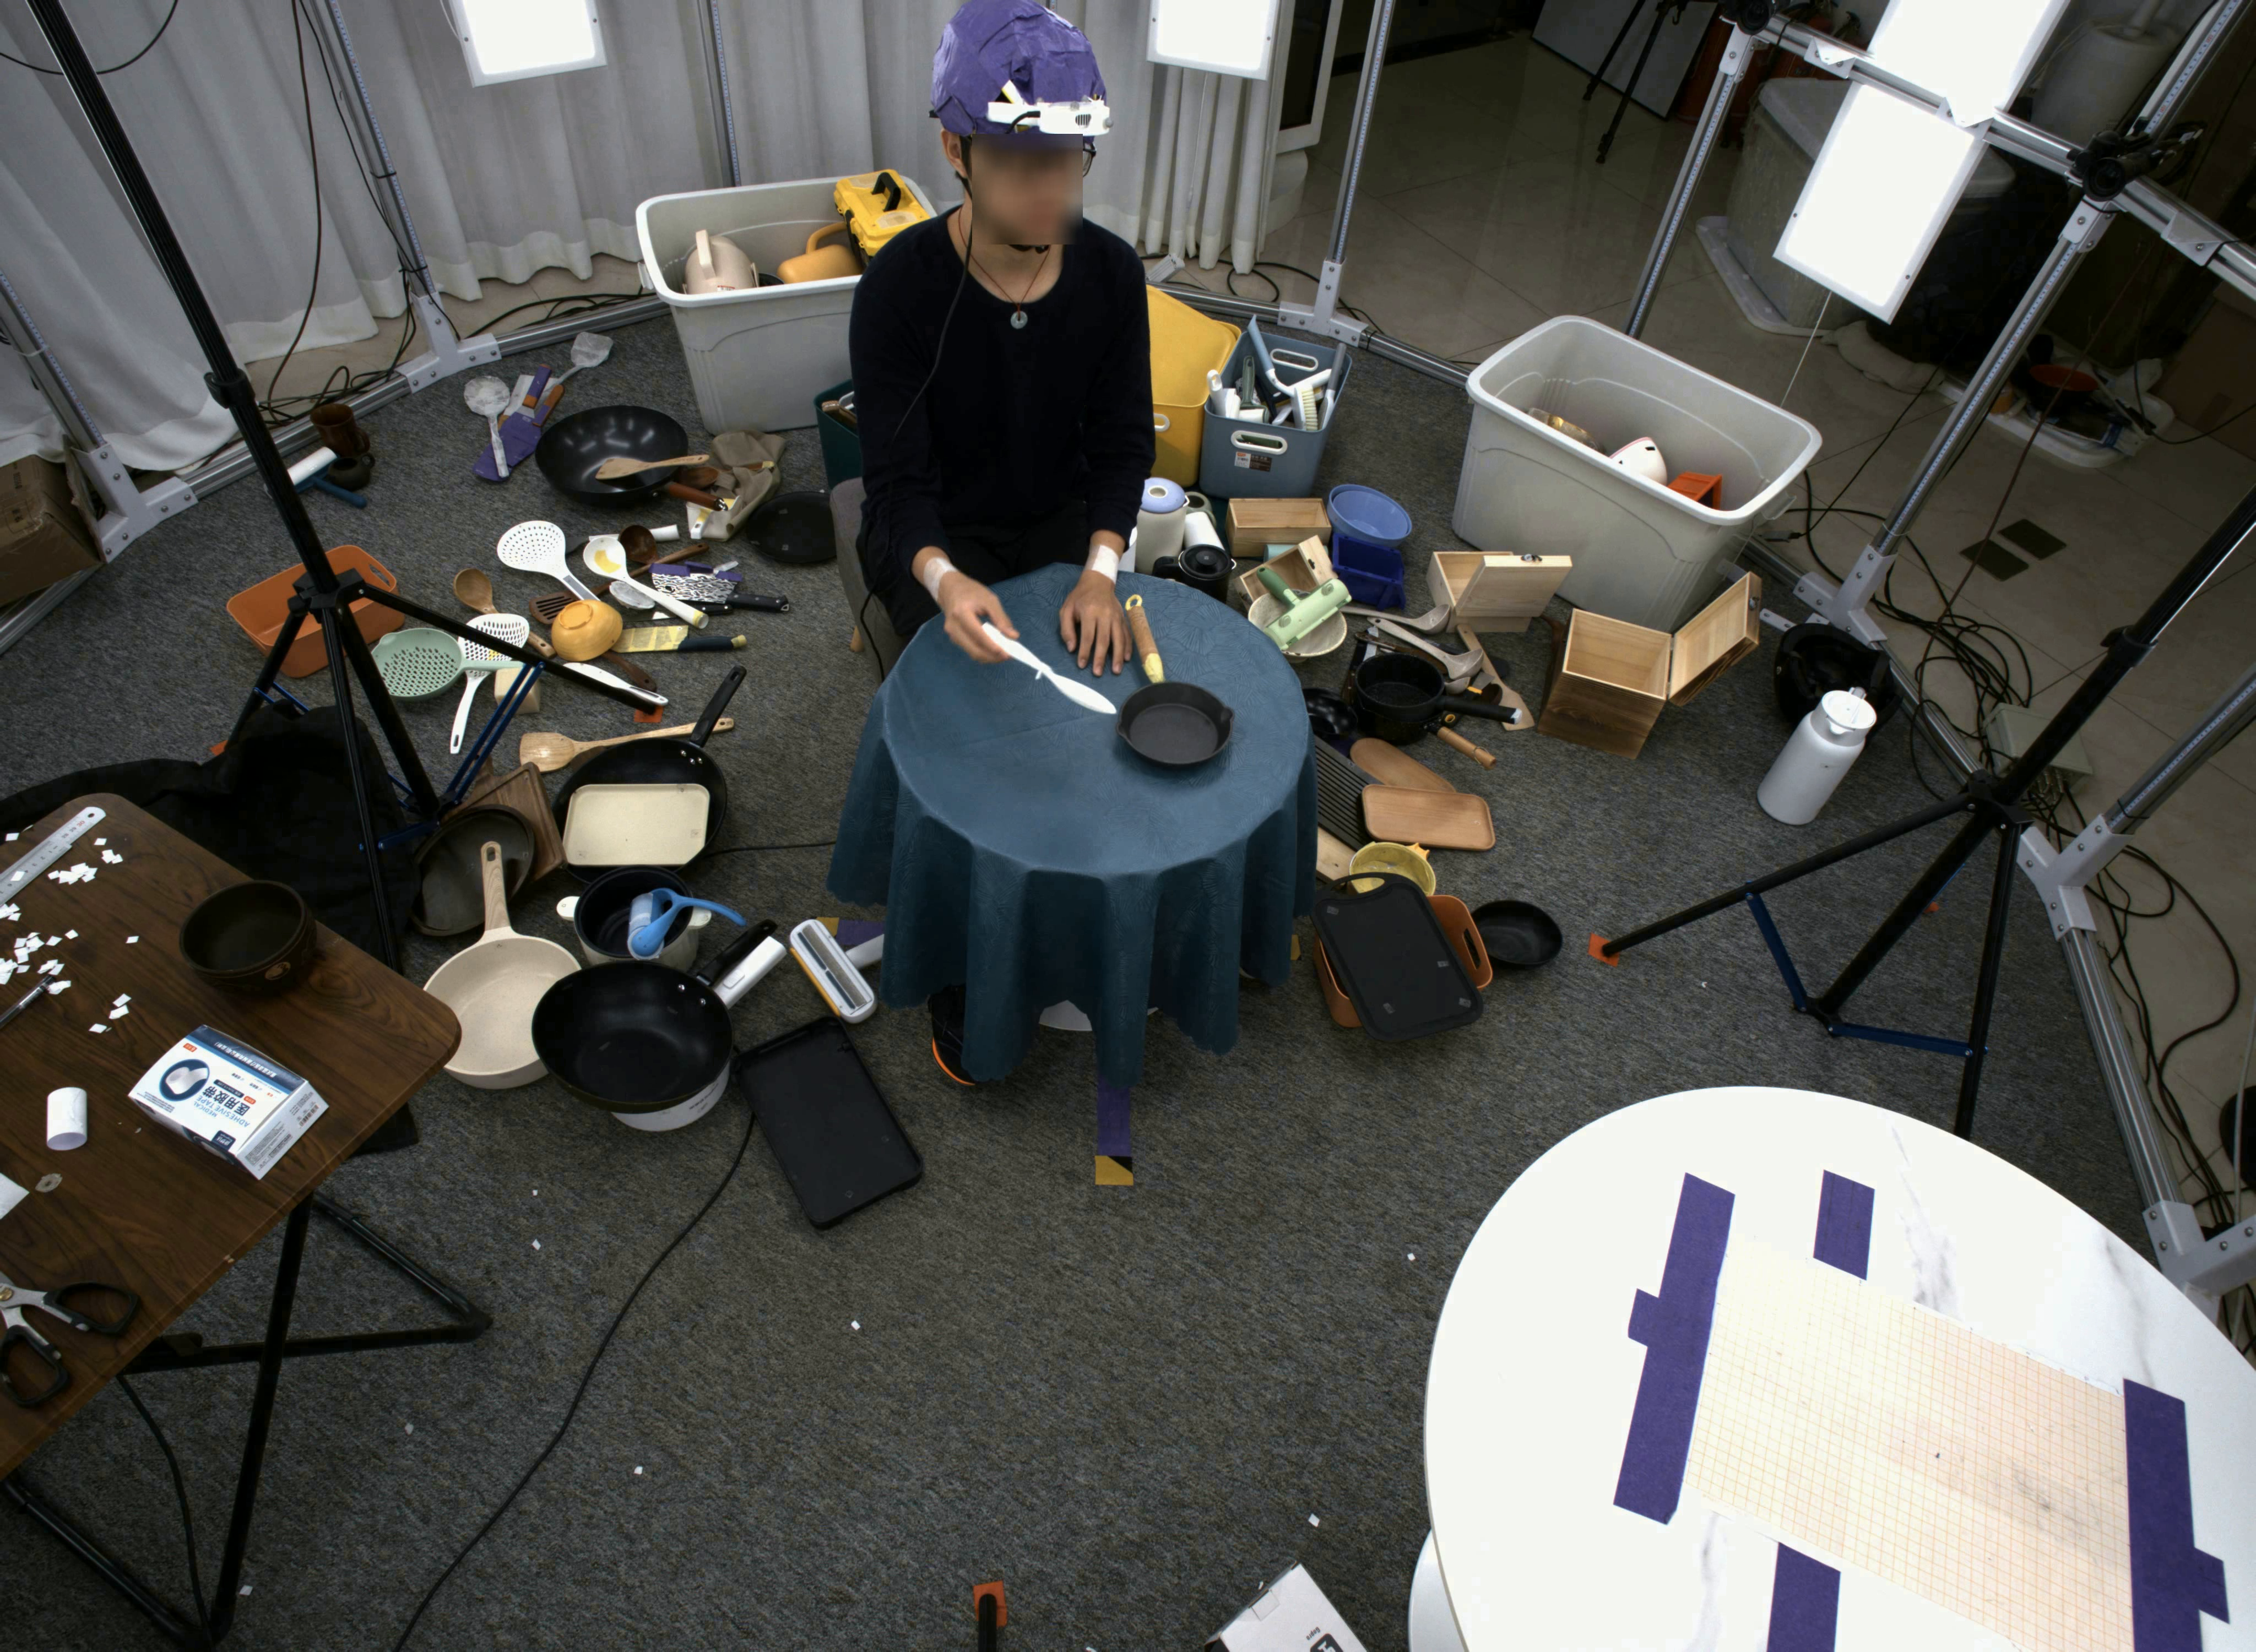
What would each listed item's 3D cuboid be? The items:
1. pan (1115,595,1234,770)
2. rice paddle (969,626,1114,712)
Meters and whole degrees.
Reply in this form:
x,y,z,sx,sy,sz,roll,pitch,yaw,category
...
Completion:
x,y,z,sx,sy,sz,roll,pitch,yaw,category
0.046,-0.205,1.817,0.169,0.048,0.332,-8,51,-10,pan
-0.106,-0.194,1.612,0.206,0.029,0.069,29,23,13,rice paddle
